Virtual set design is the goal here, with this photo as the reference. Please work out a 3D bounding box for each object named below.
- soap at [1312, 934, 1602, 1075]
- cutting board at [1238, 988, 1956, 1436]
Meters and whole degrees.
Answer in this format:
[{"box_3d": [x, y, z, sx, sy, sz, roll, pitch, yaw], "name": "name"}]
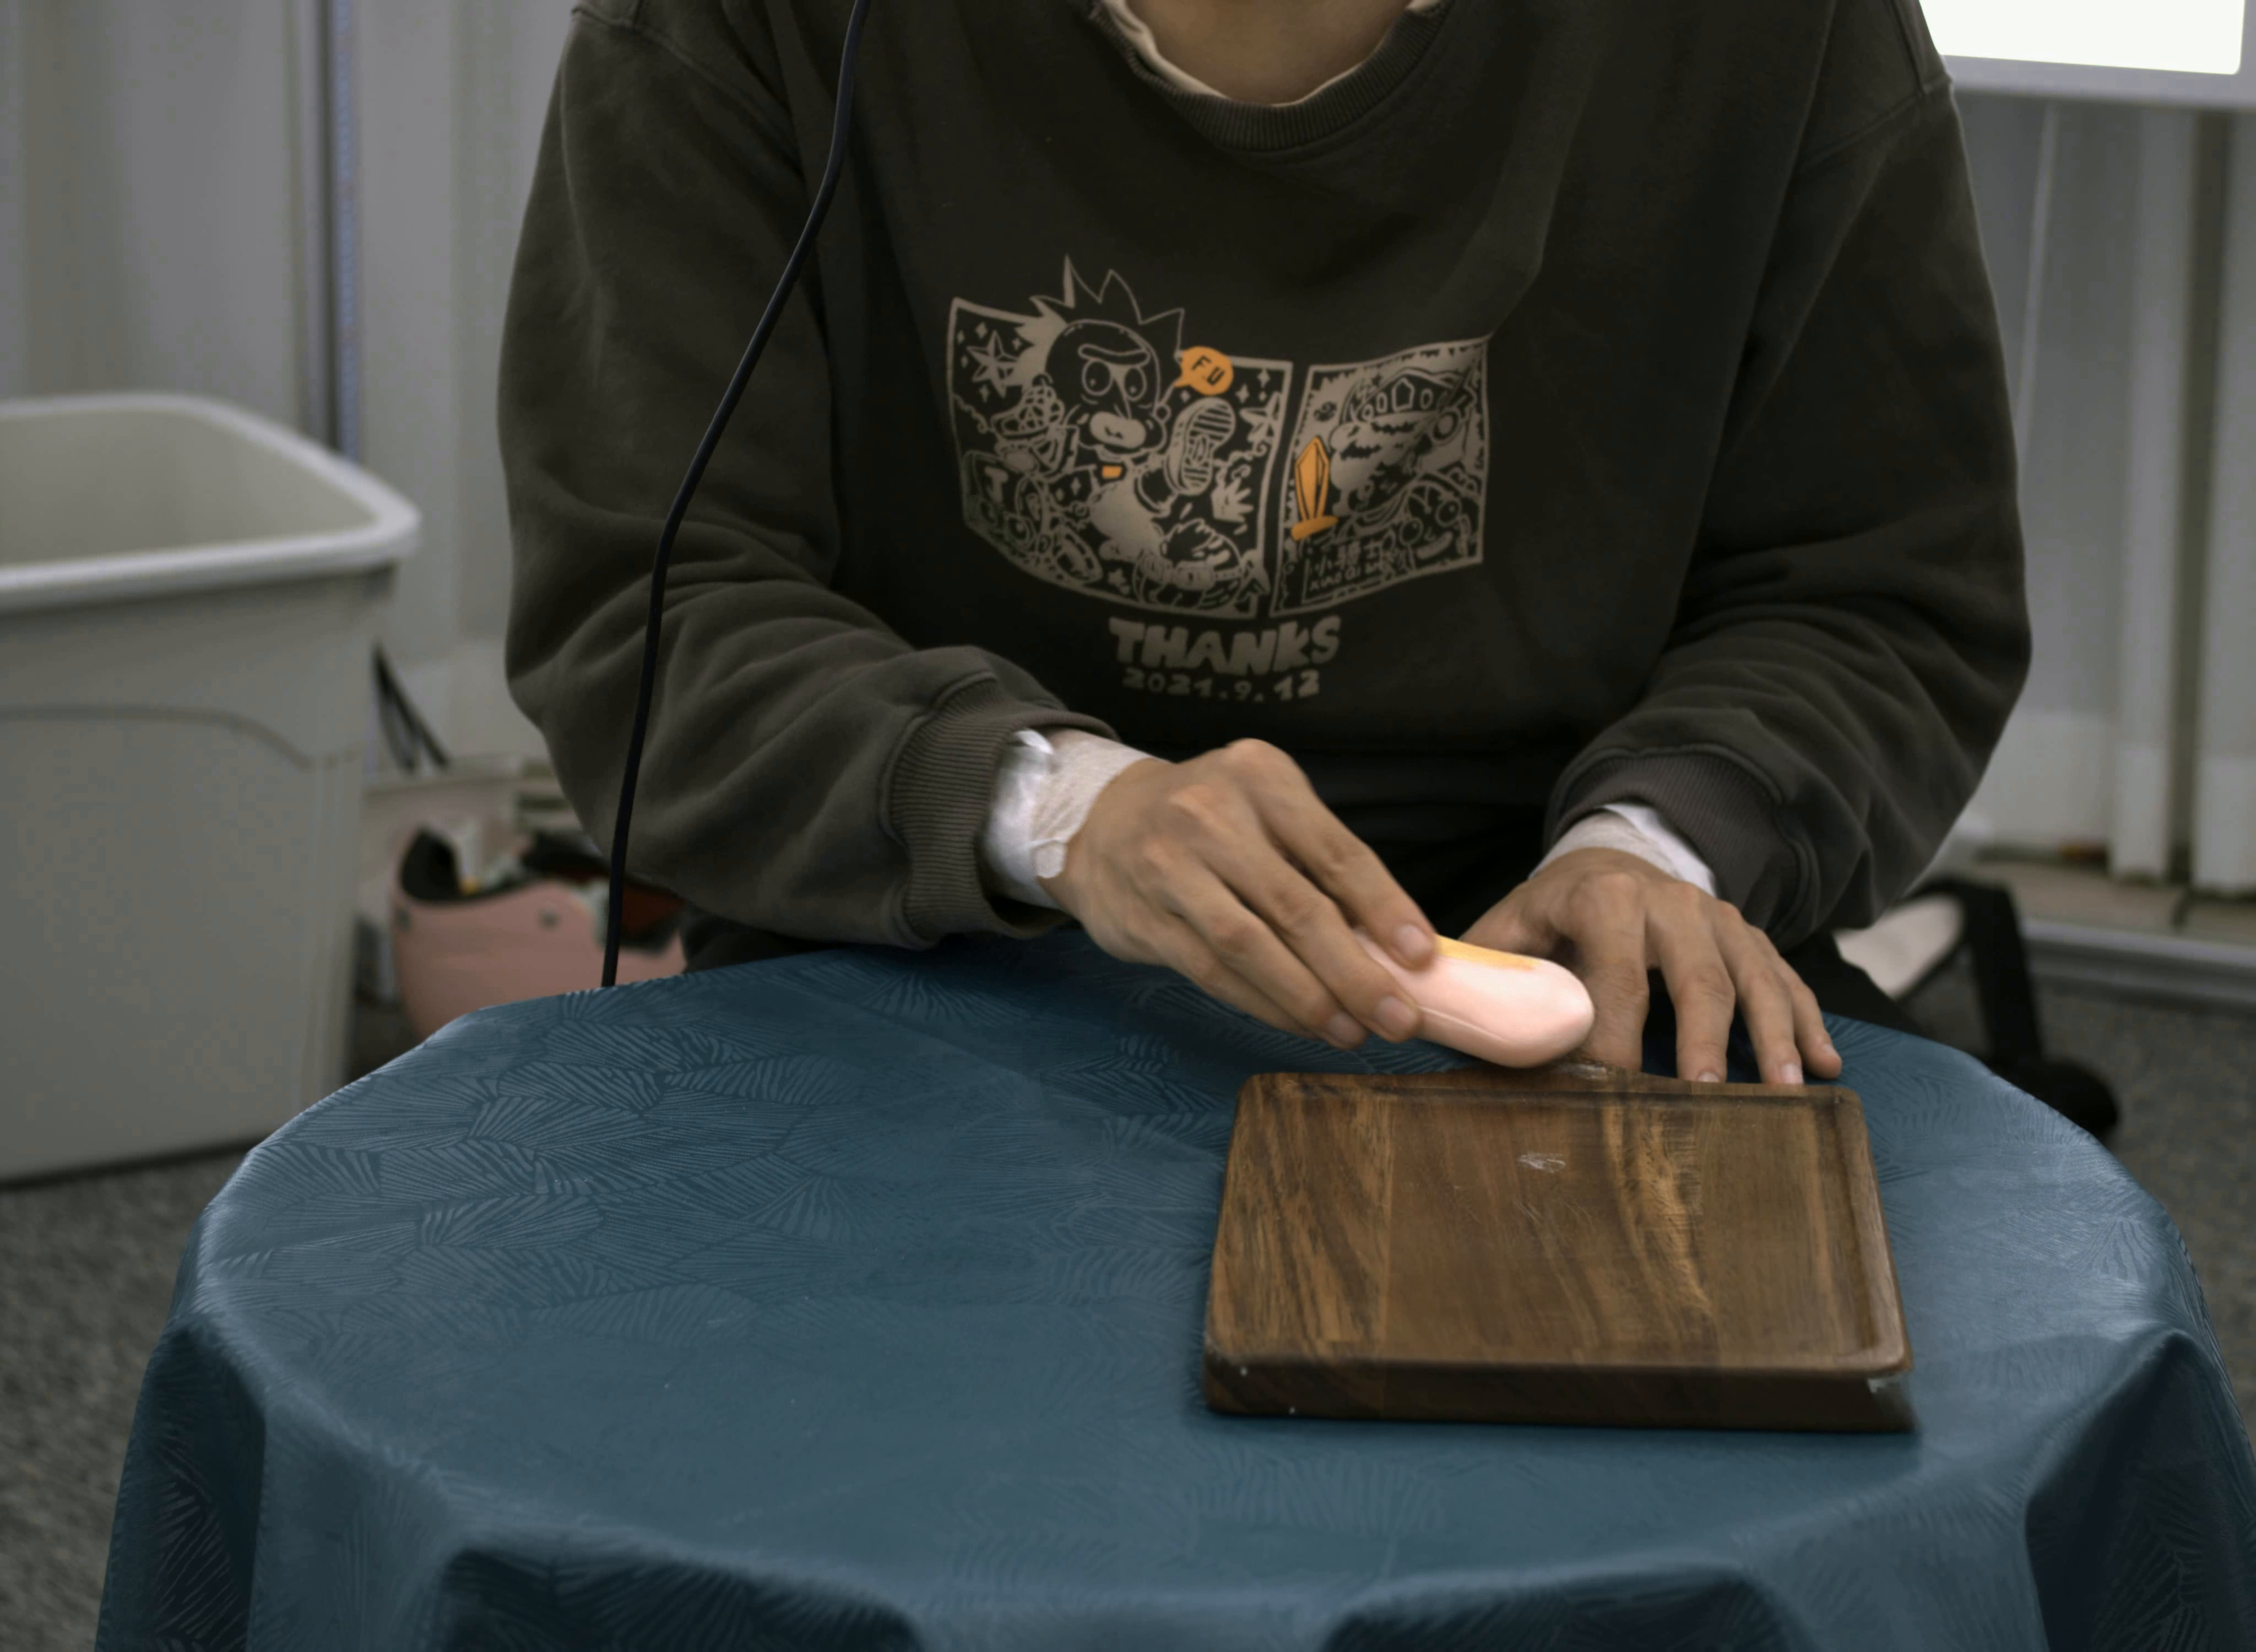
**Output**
[{"box_3d": [0.106, 0.057, 1.696, 0.093, 0.030, 0.050, 13, 19, 29], "name": "soap"}, {"box_3d": [0.140, 0.110, 1.605, 0.200, 0.023, 0.351, 2, 15, 4], "name": "cutting board"}]
